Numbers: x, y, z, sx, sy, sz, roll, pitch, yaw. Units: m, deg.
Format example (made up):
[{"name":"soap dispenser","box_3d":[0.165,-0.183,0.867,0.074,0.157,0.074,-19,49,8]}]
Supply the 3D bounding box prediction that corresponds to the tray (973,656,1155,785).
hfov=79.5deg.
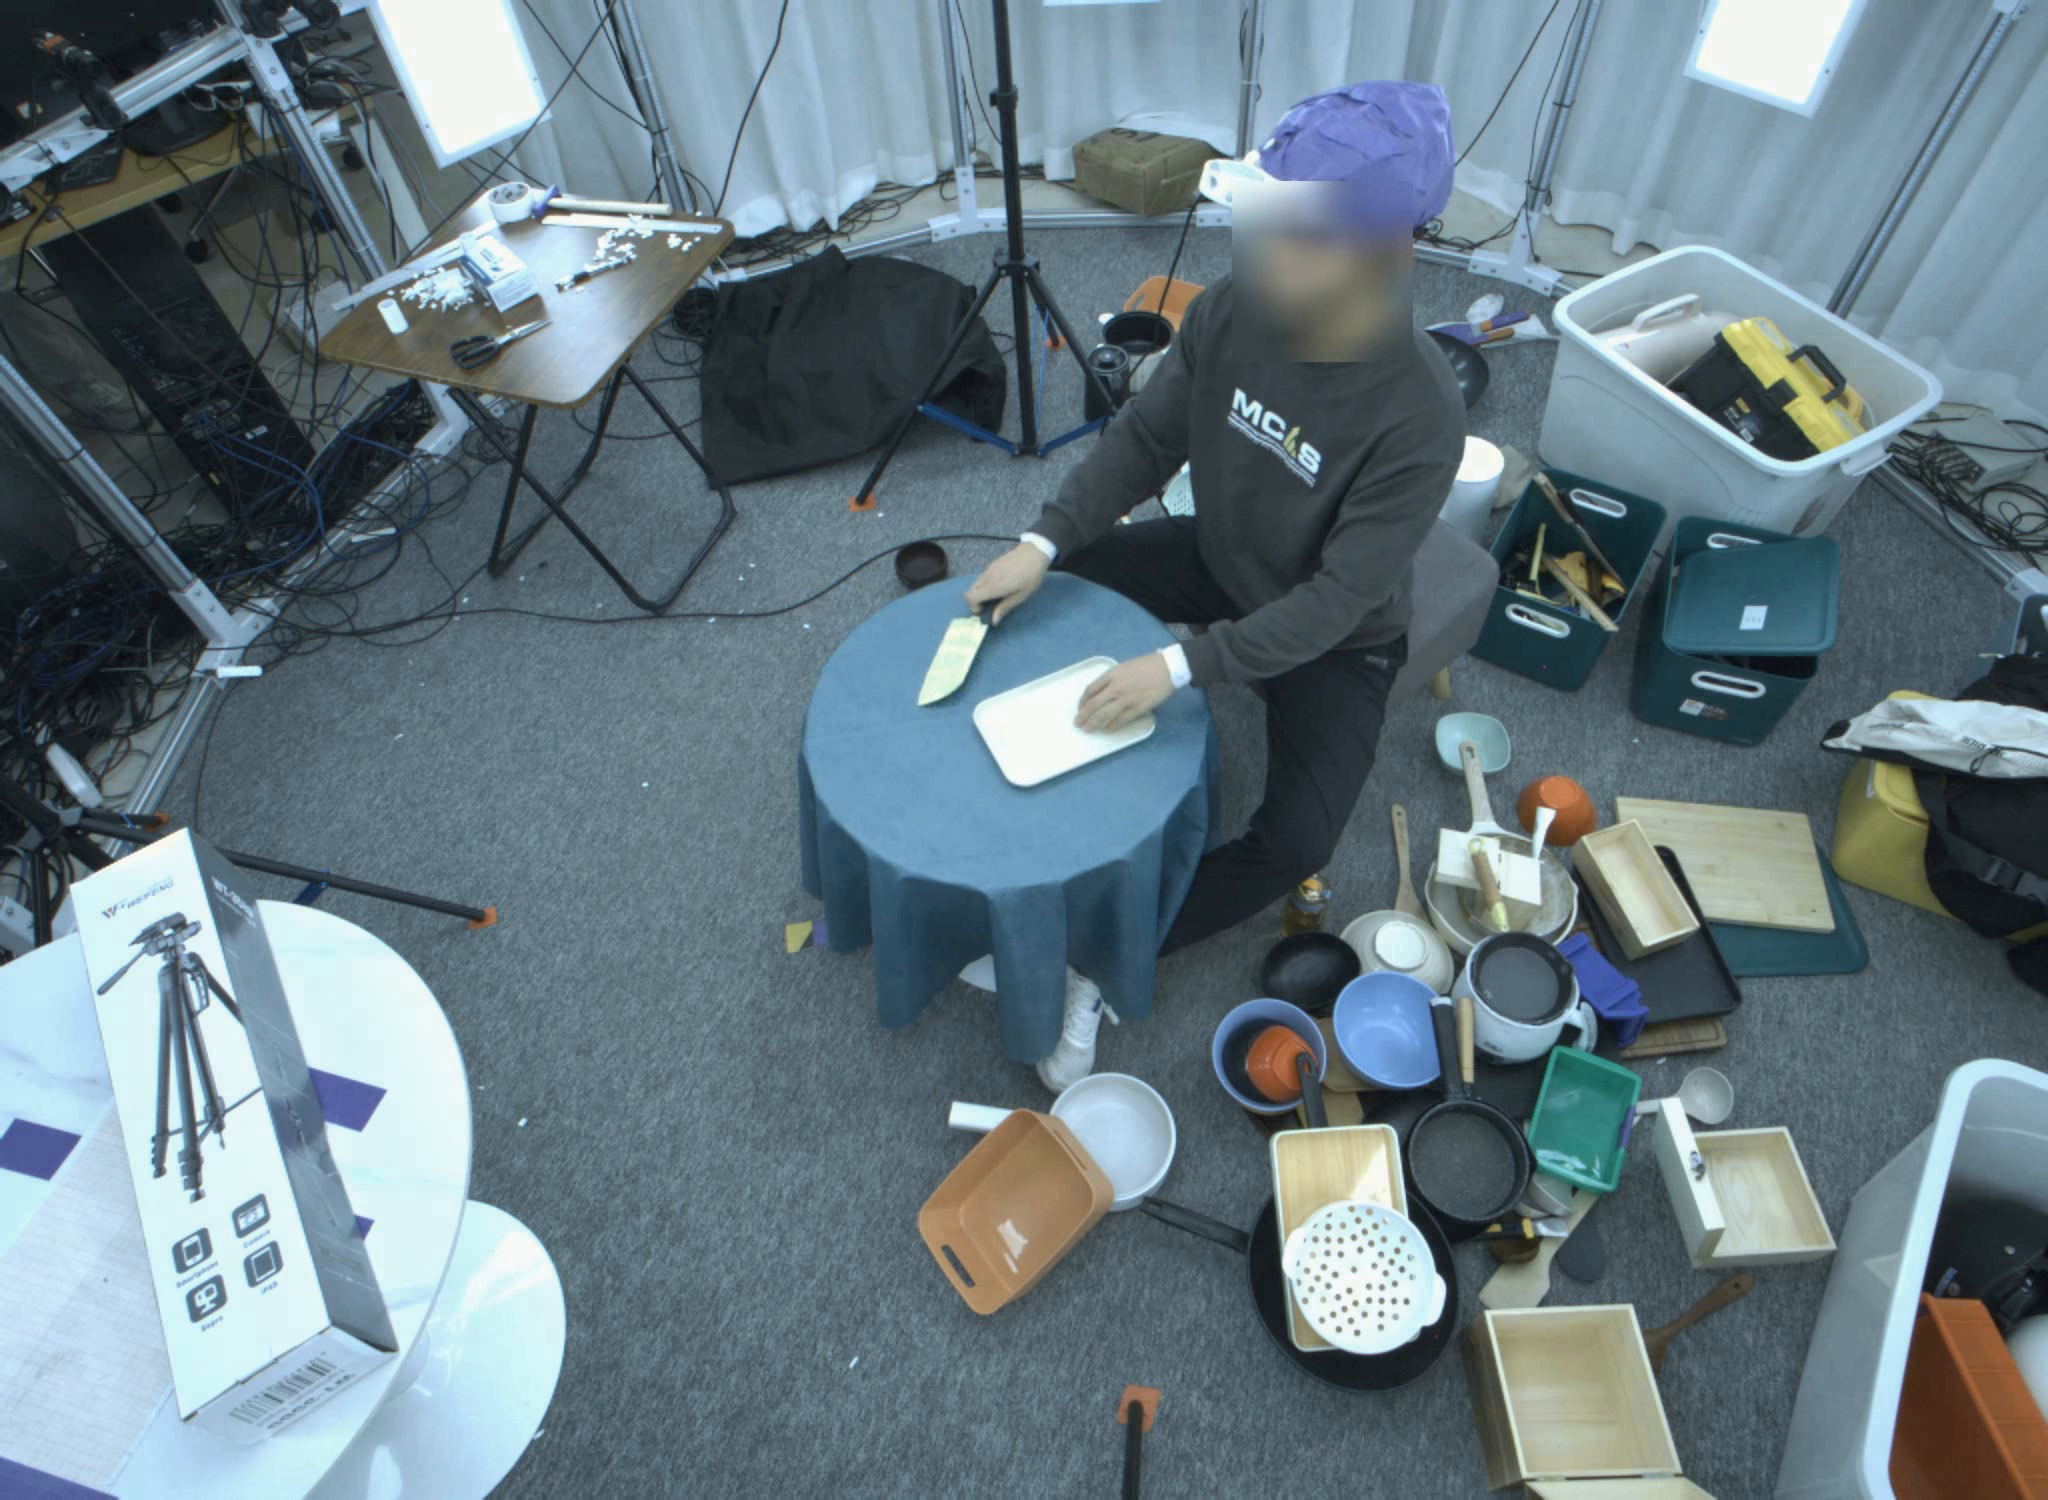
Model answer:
[{"name":"tray","box_3d":[0.058,-0.044,1.814,0.241,0.017,0.168,-22,56,-14]}]

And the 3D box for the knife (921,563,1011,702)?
[{"name":"knife","box_3d":[-0.089,-0.185,1.909,0.079,0.028,0.289,9,56,26]}]
